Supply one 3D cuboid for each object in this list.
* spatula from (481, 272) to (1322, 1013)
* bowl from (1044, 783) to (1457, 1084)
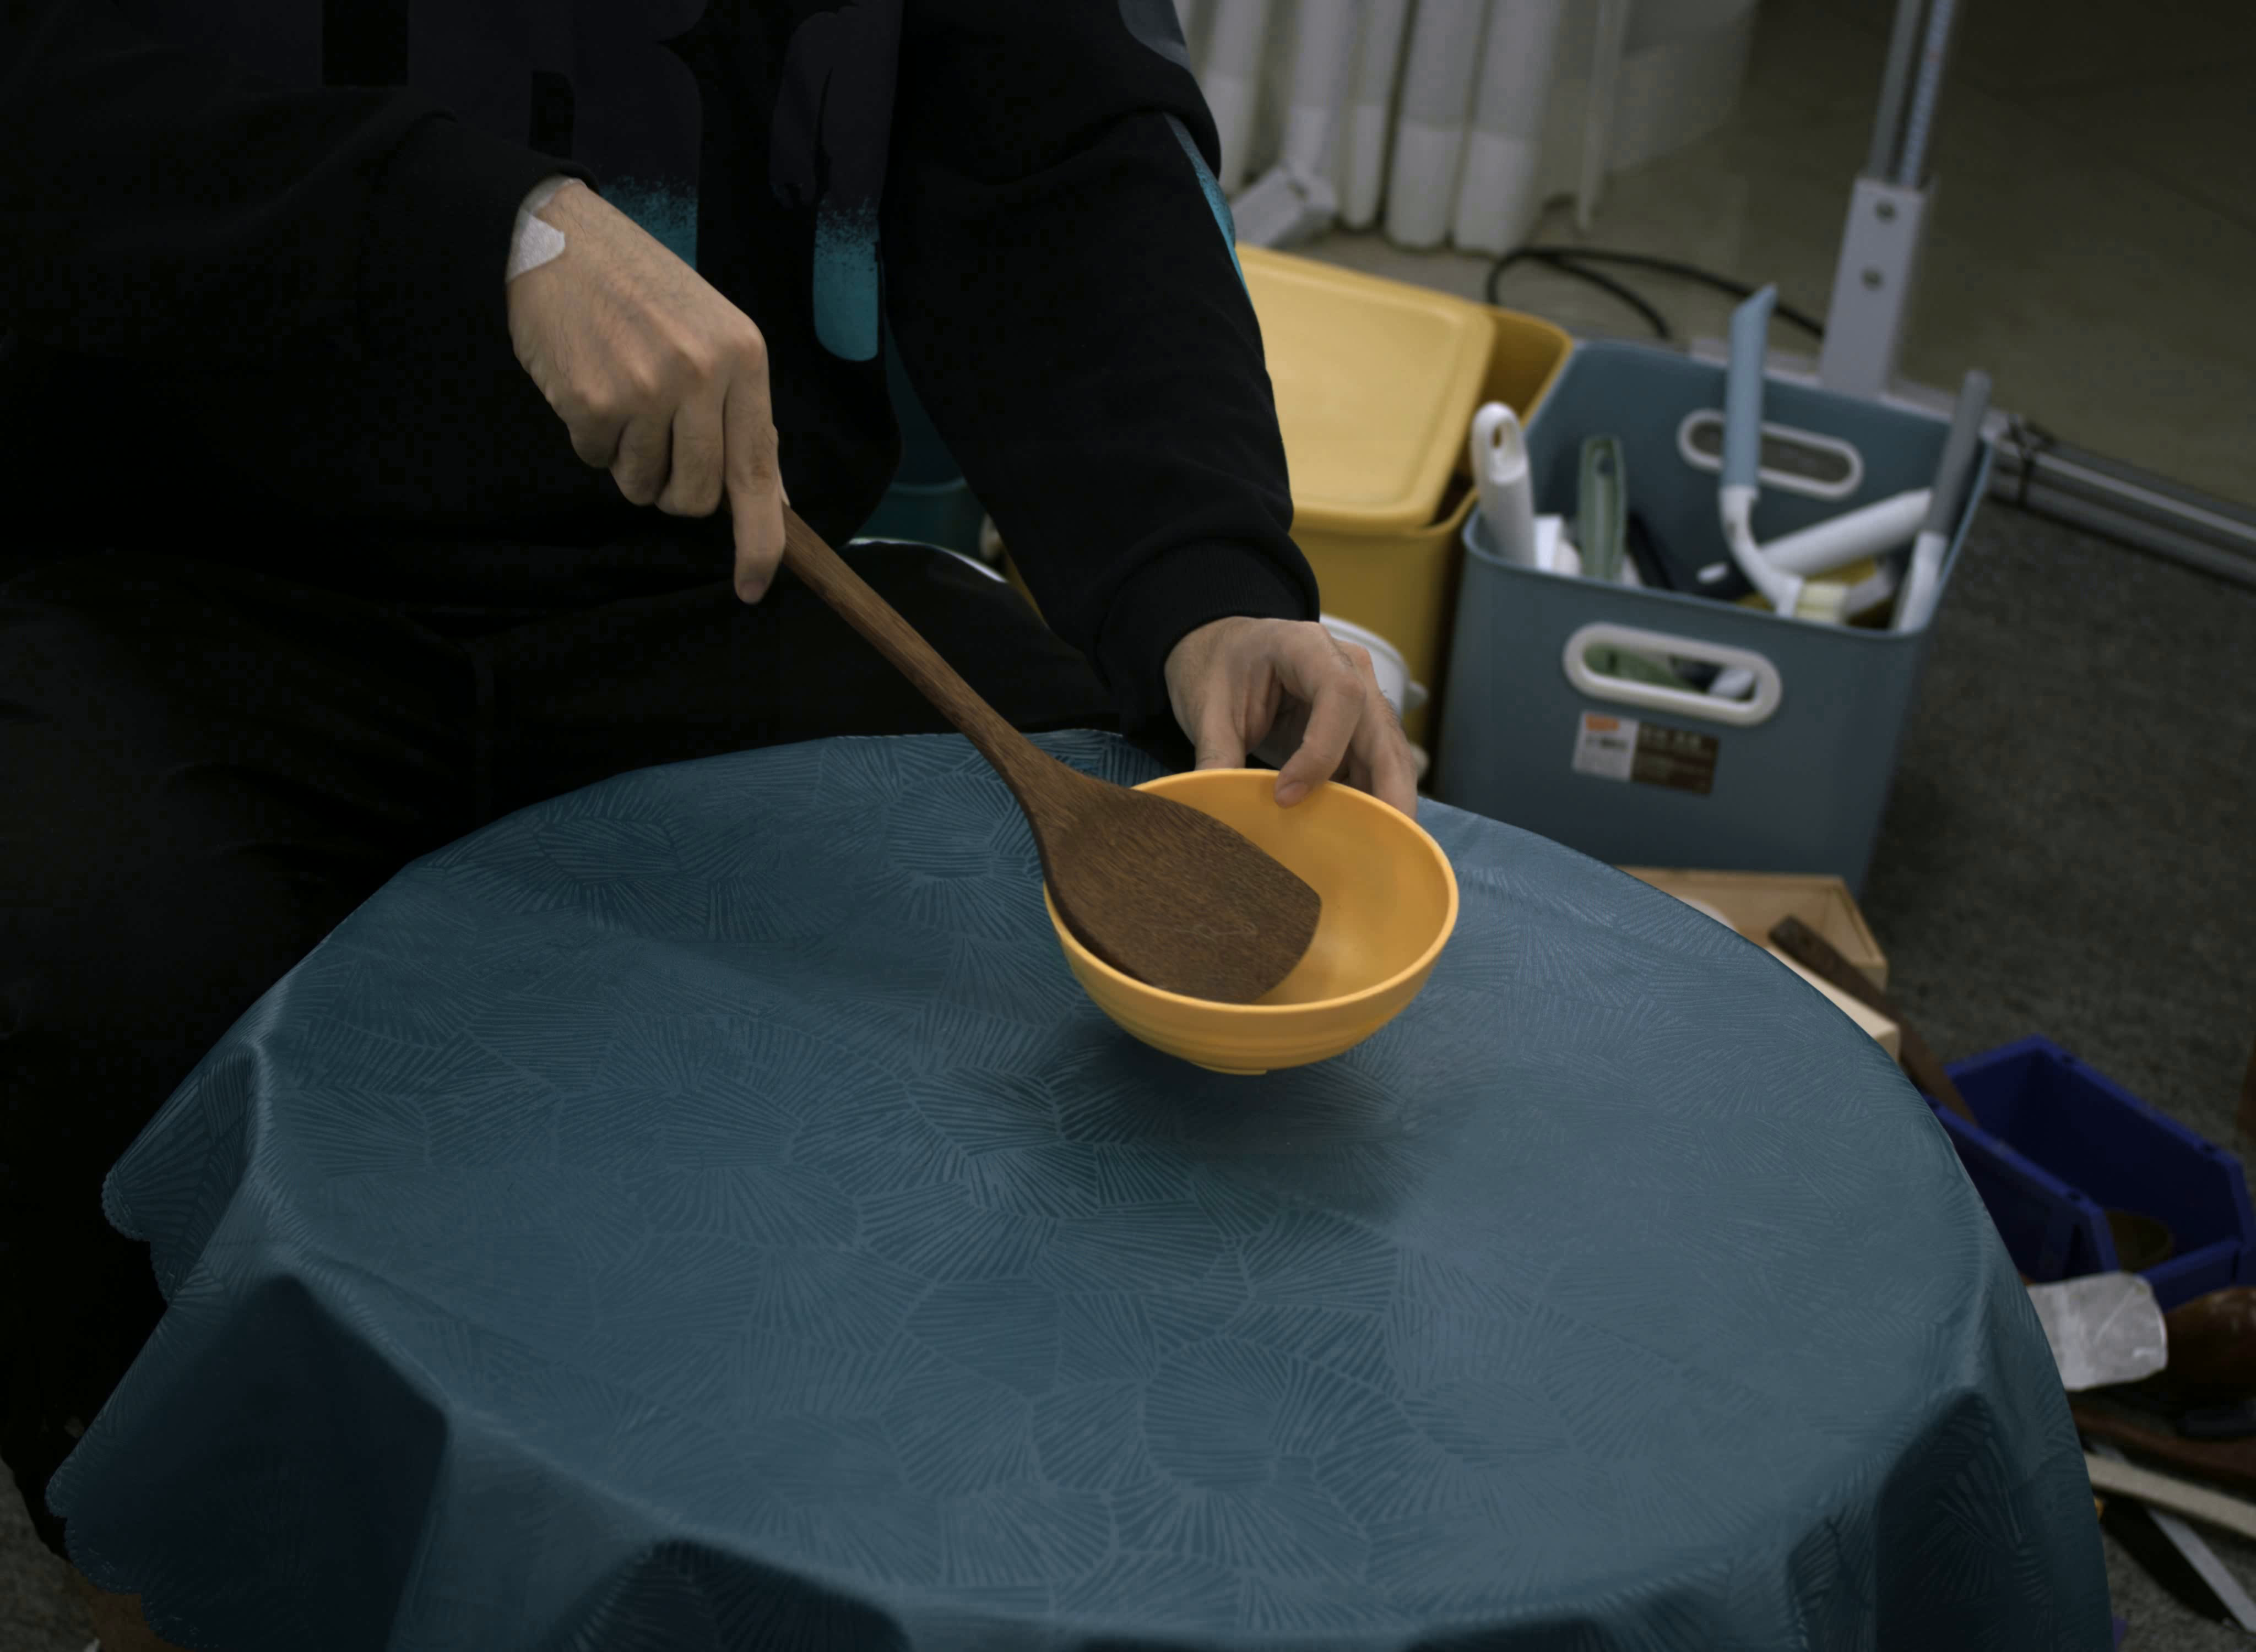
[{"bbox_3d":[-0.088,-0.071,1.873,0.387,0.016,0.096,43,42,10],"label":"spatula"},{"bbox_3d":[0.041,0.047,1.862,0.145,0.060,0.146,3,32,-2],"label":"bowl"}]
